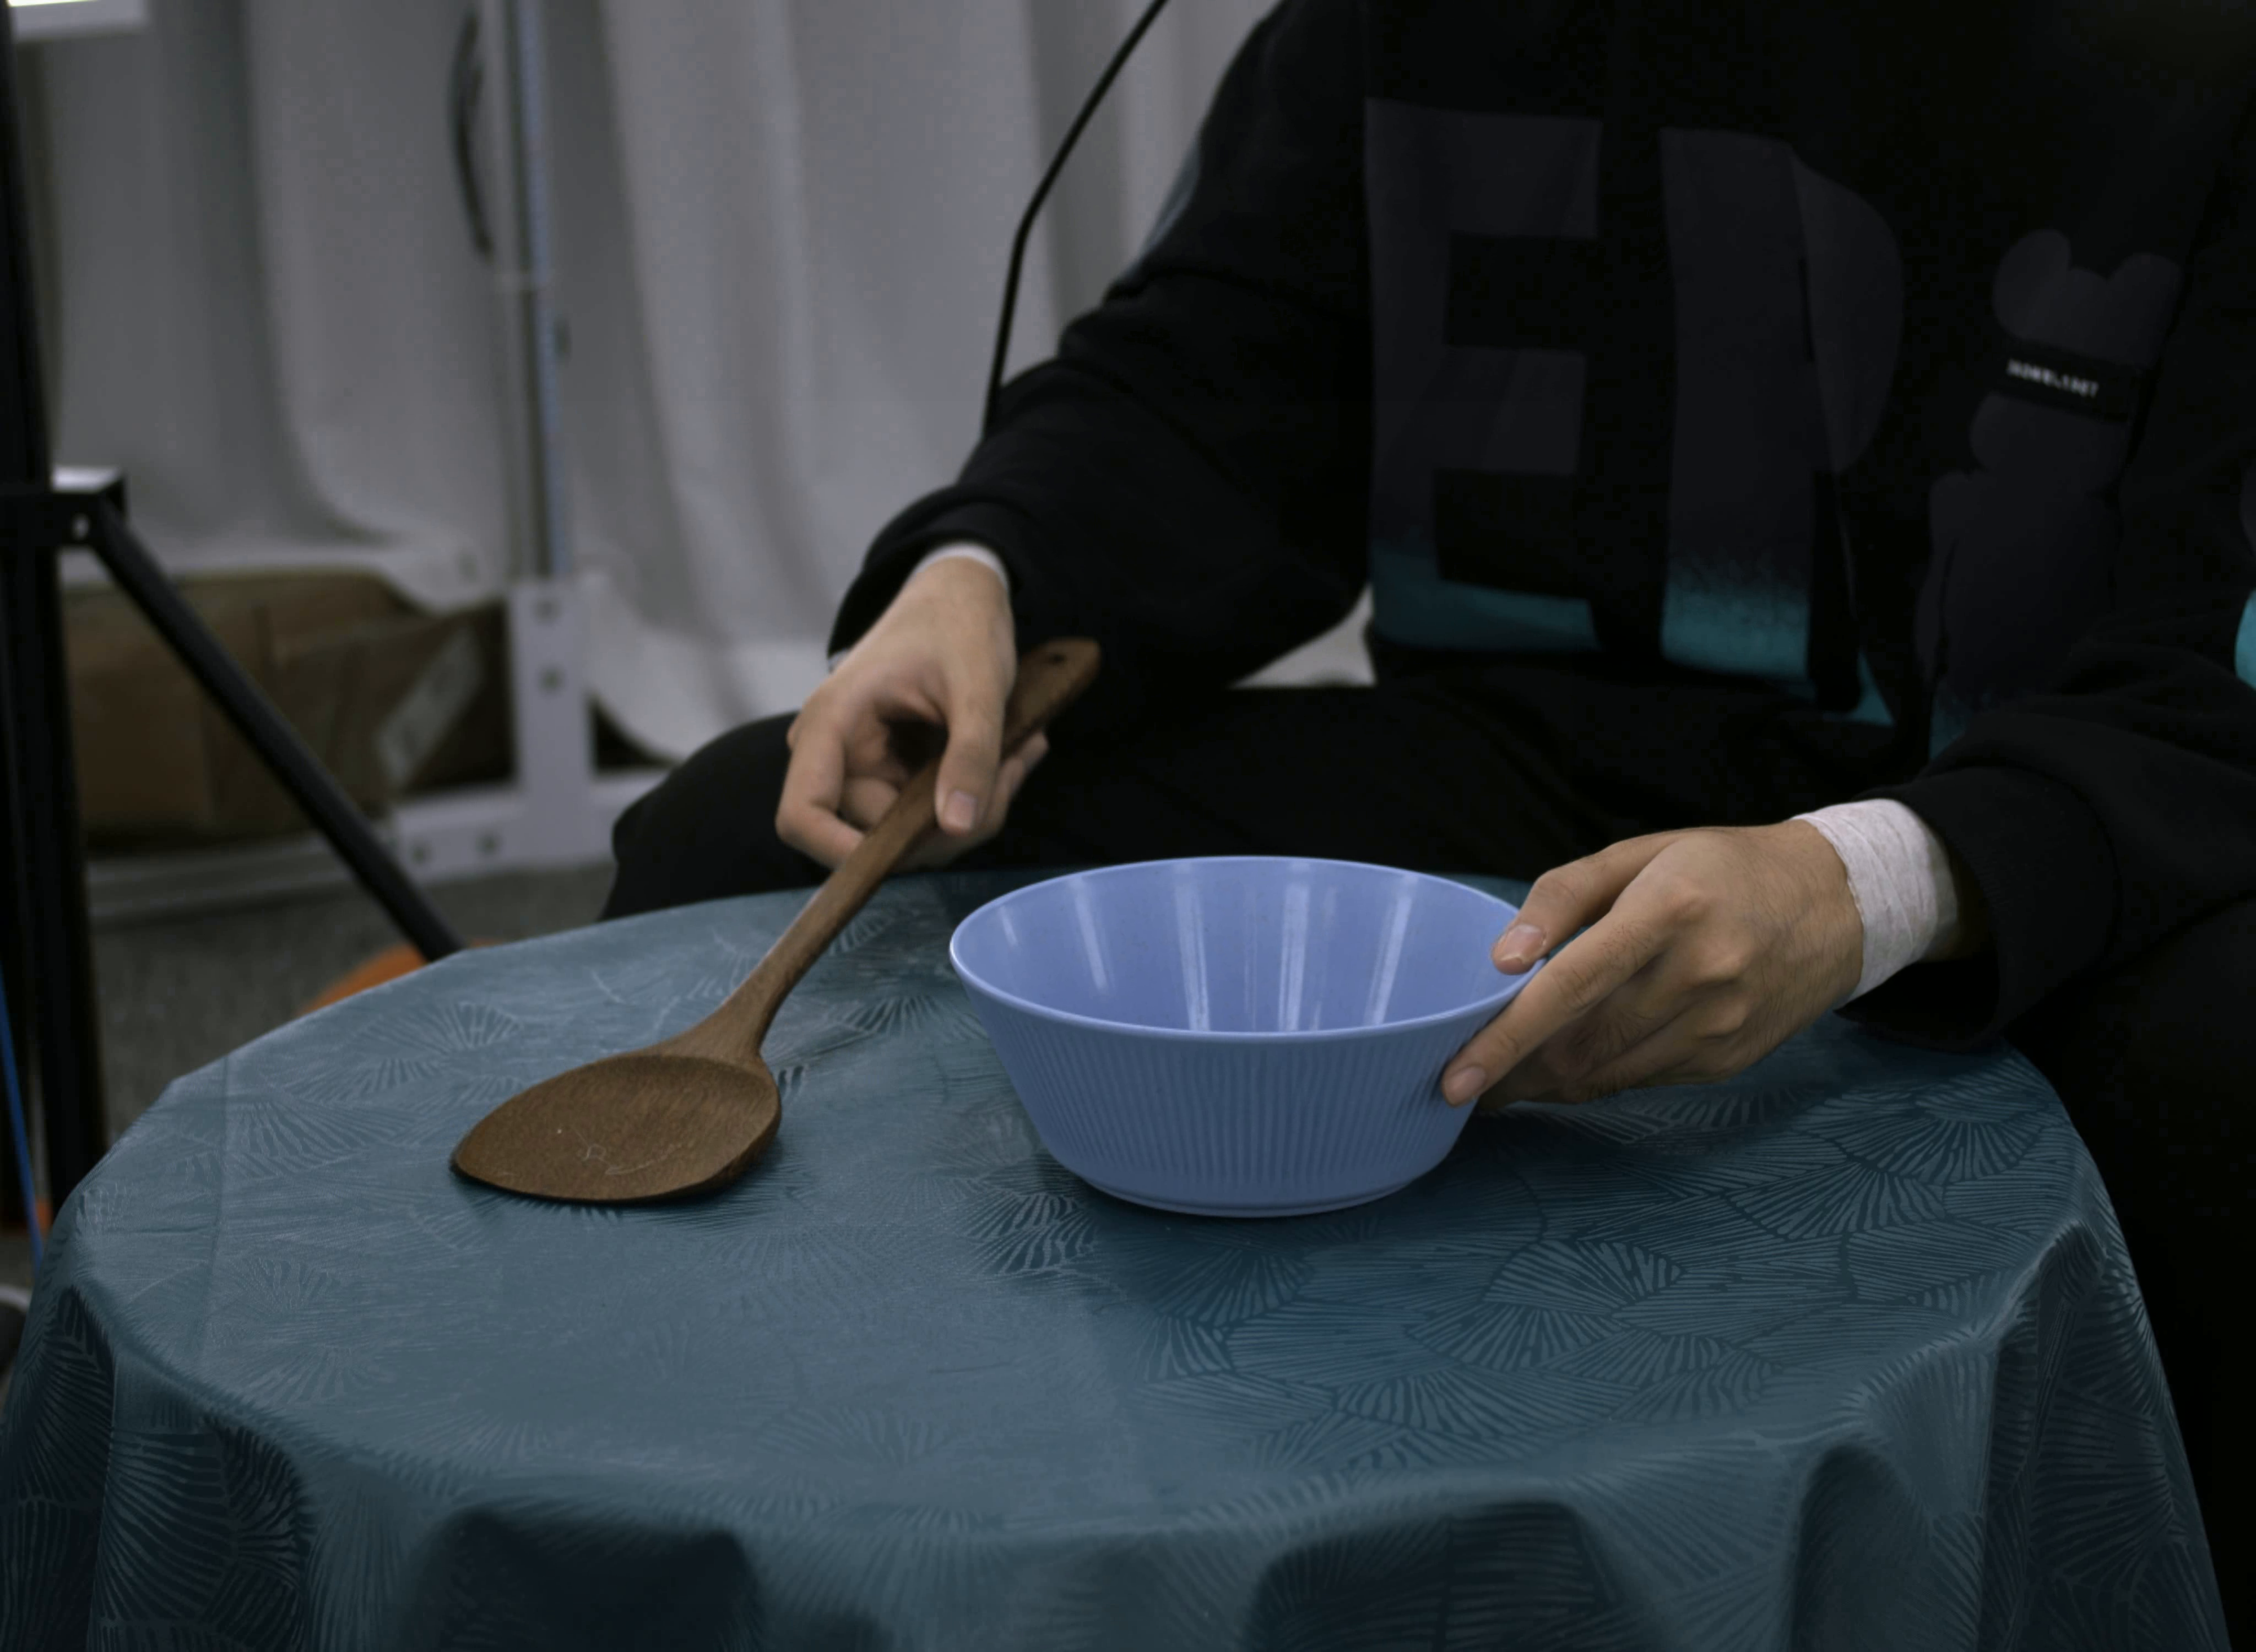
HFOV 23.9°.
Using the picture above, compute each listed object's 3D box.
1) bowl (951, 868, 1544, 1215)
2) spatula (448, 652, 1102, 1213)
[{"bbox_3d":[0.034,0.066,1.568,0.175,0.070,0.177,0,15,-1],"label":"bowl"},{"bbox_3d":[-0.093,0.026,1.725,0.097,0.015,0.382,3,29,25],"label":"spatula"}]
